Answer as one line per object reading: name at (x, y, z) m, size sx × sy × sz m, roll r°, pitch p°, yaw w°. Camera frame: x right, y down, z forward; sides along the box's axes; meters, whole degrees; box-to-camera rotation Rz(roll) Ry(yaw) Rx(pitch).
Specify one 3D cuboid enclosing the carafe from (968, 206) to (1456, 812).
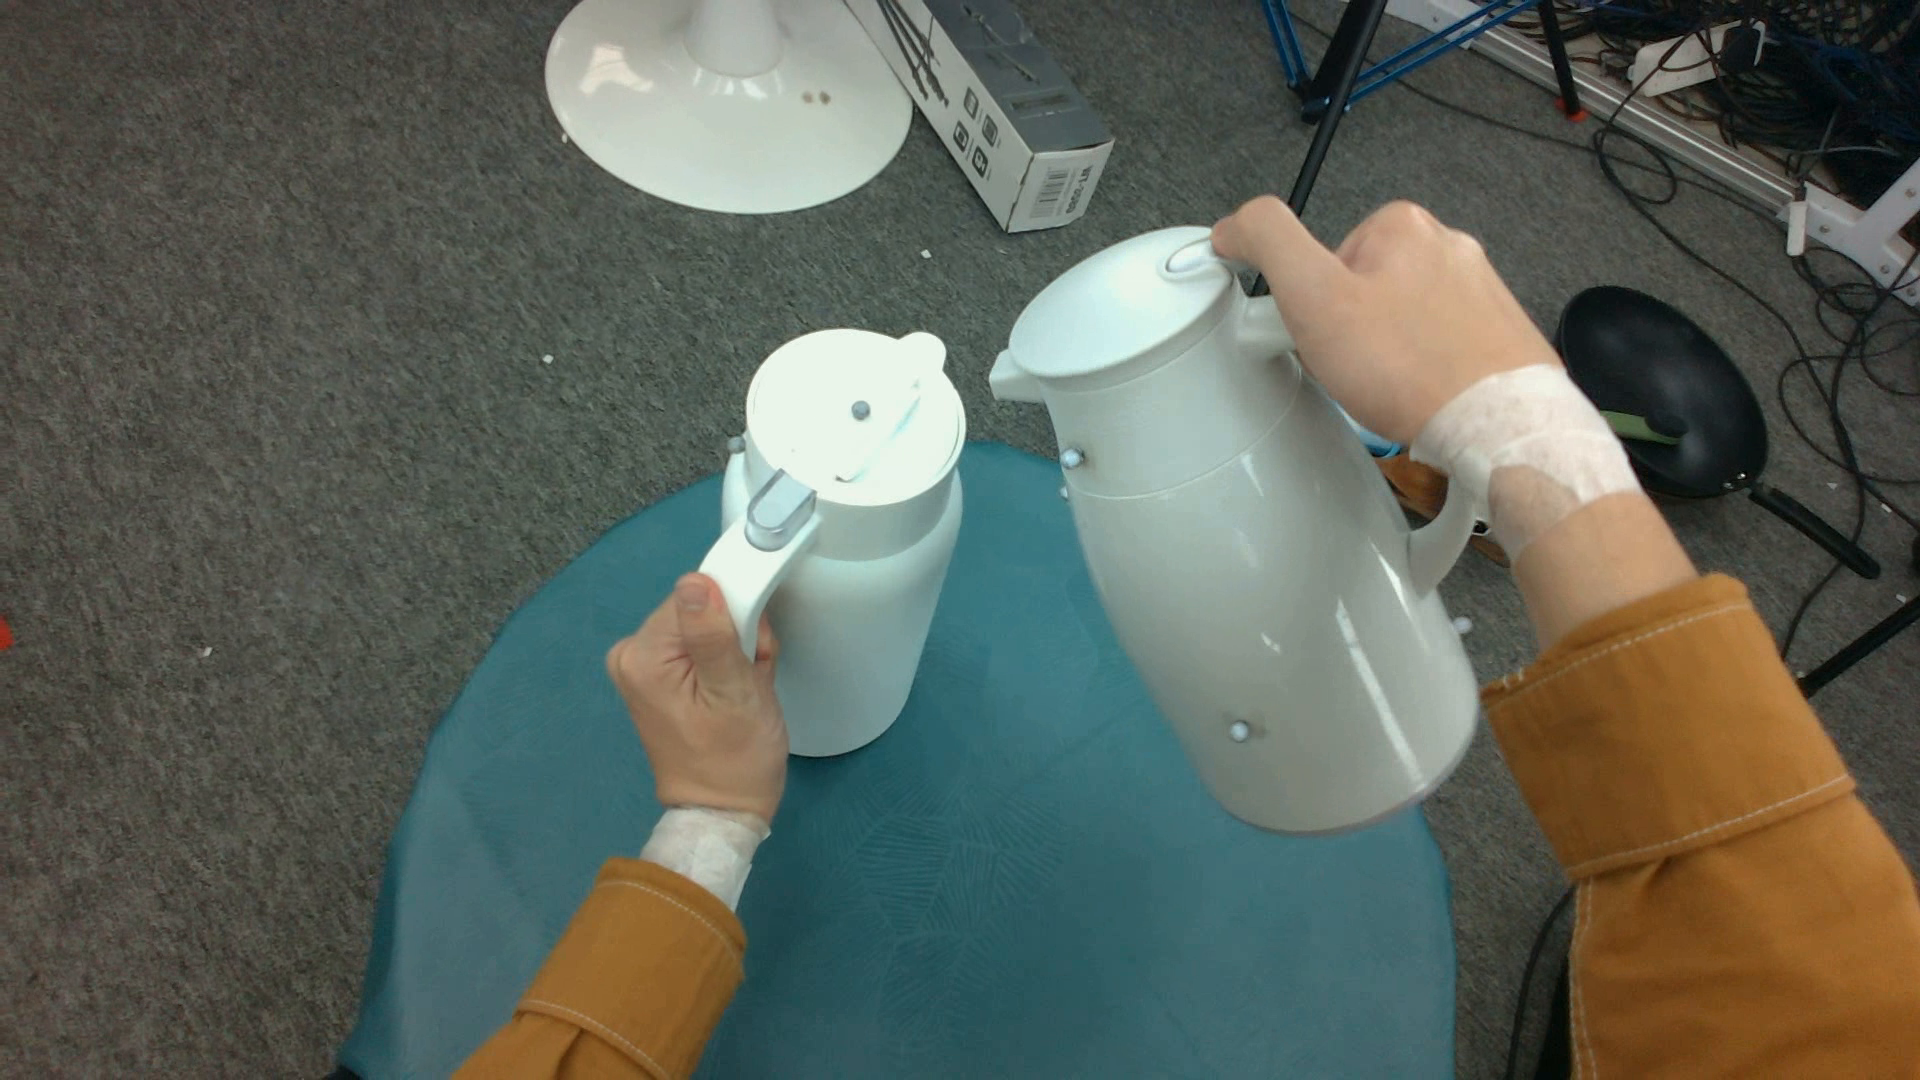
carafe at (0.121, -0.019, 0.565) m, size 0.167 × 0.248 × 0.133 m, roll -13°, pitch 37°, yaw 28°

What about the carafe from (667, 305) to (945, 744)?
carafe at (-0.086, 0.016, 0.711) m, size 0.124 × 0.267 × 0.173 m, roll 32°, pitch 58°, yaw 6°
